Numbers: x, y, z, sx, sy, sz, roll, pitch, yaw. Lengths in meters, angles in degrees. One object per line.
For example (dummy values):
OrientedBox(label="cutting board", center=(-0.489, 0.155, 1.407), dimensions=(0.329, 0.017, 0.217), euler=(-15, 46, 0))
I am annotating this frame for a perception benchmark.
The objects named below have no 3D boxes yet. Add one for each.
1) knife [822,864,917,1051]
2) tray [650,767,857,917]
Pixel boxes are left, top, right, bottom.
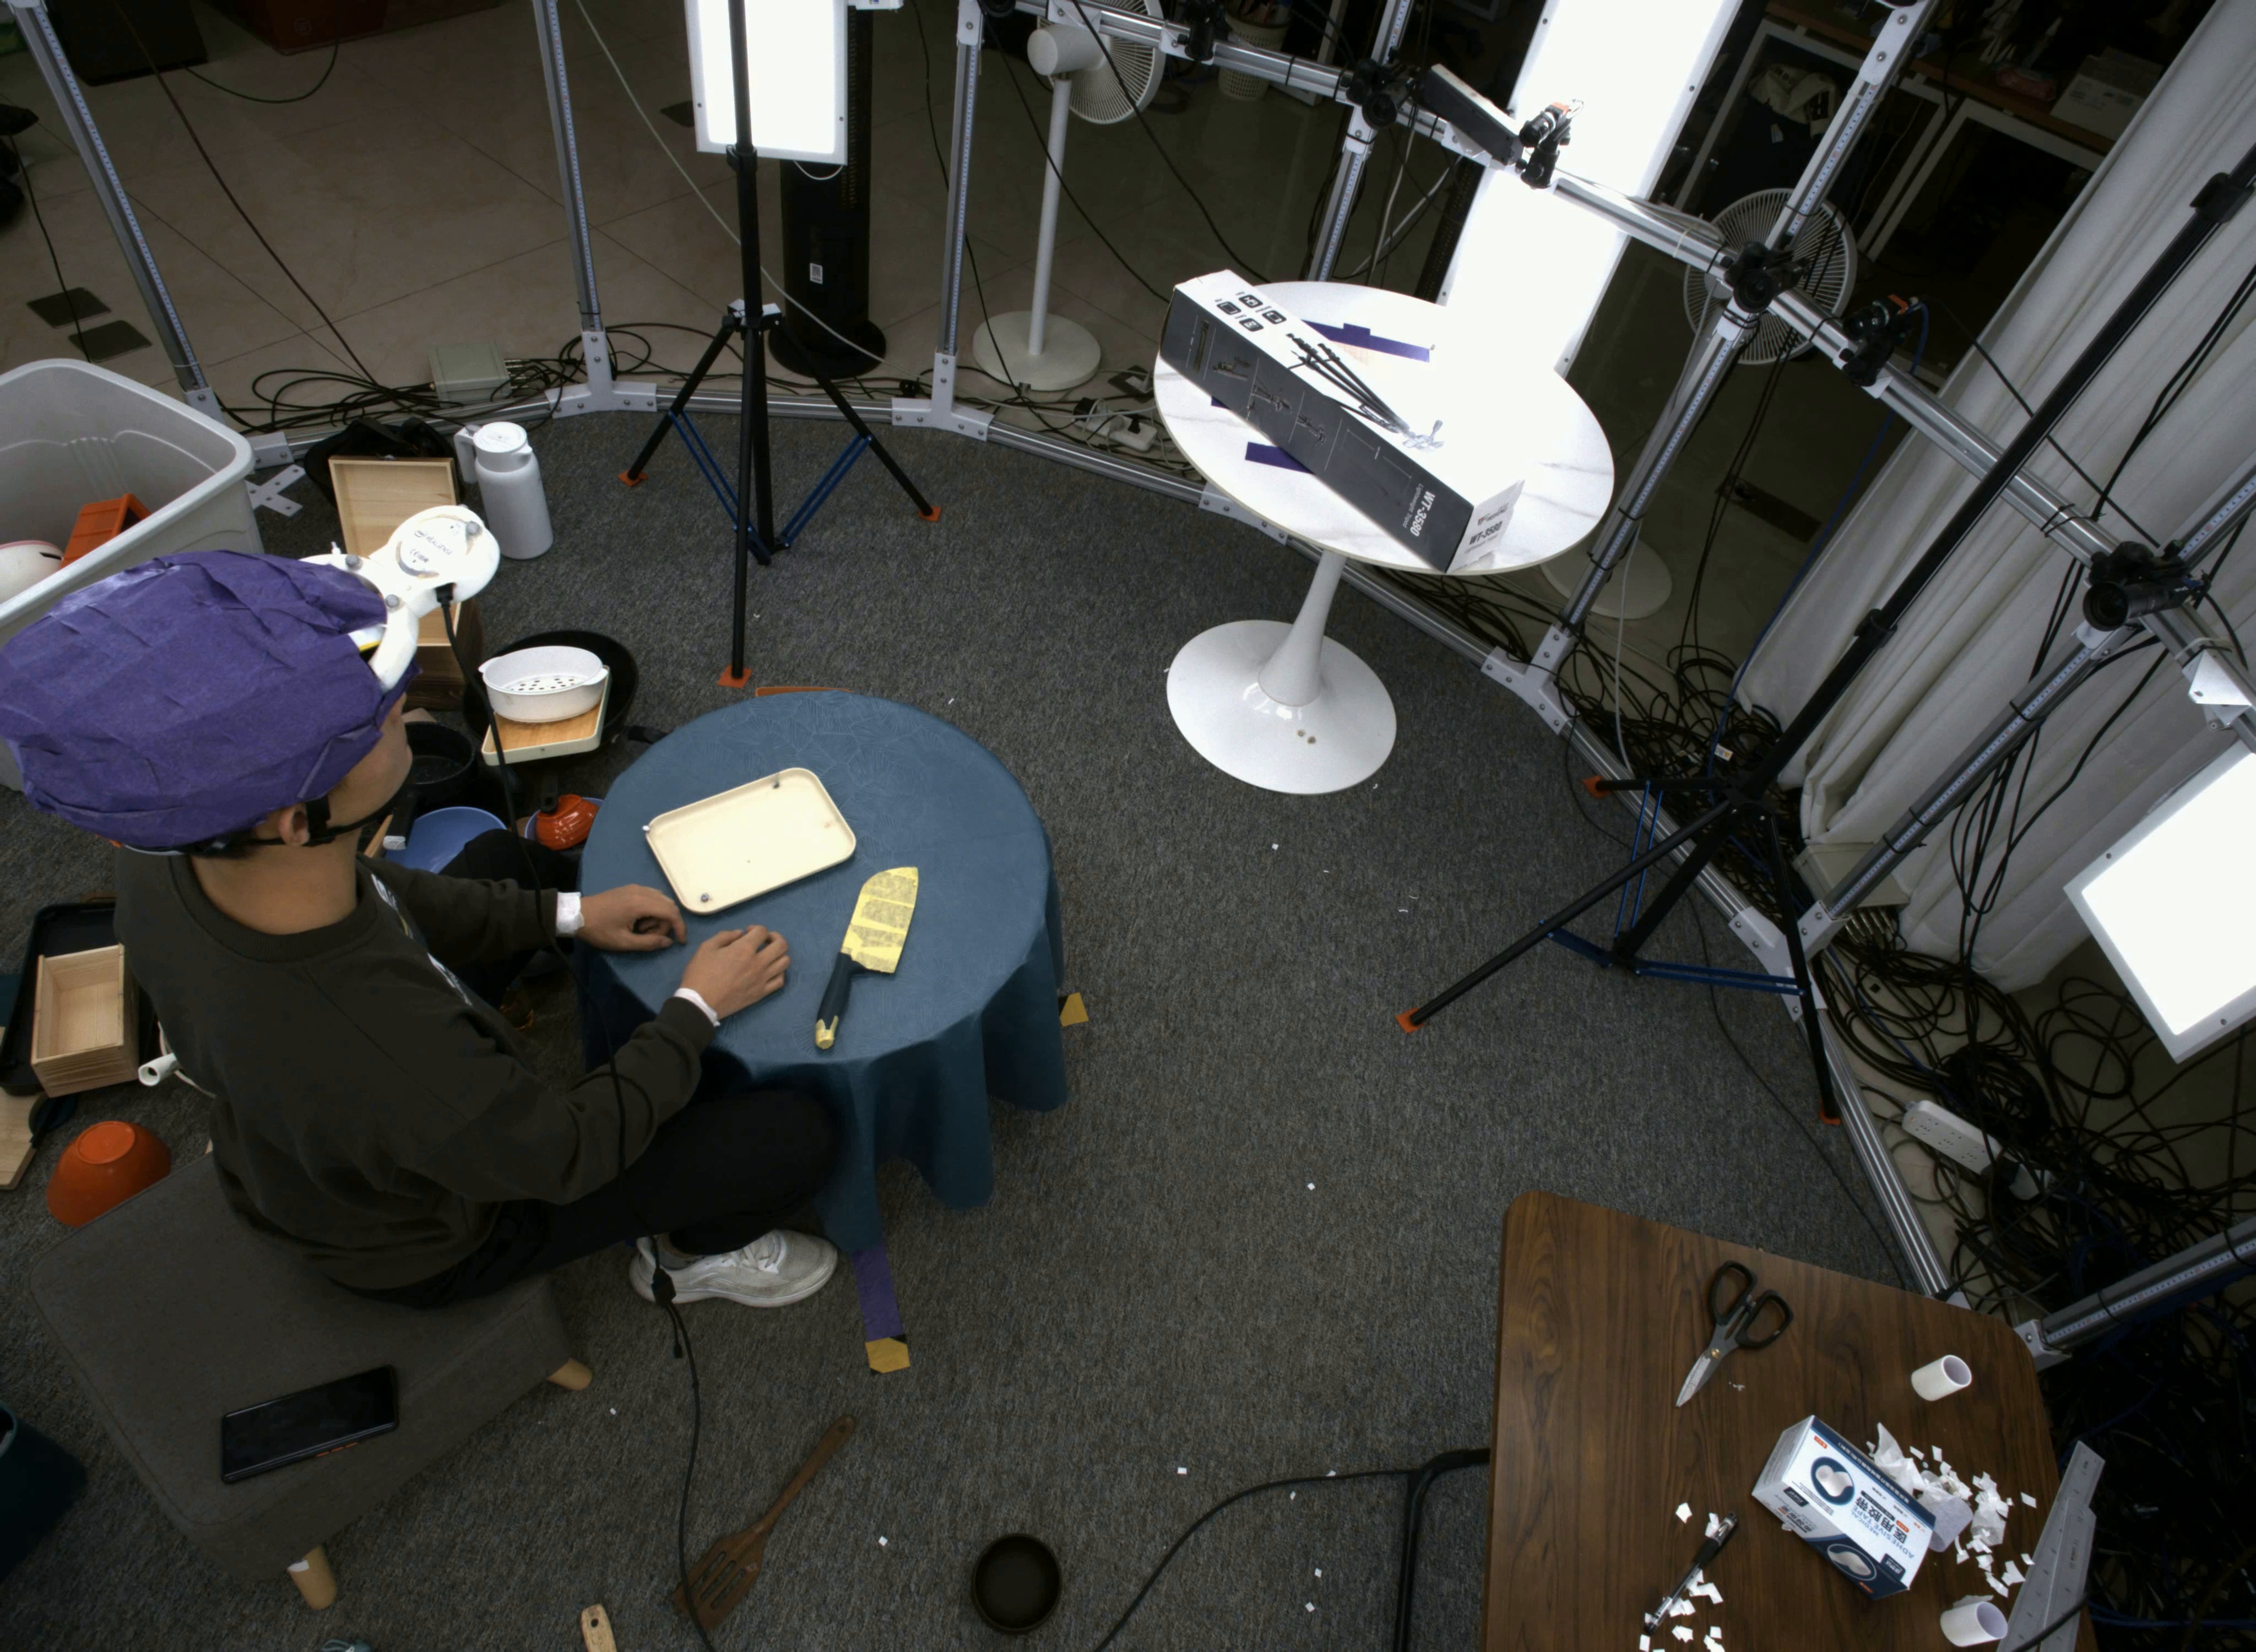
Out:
OrientedBox(label="knife", center=(-0.323, 0.157, 1.635), dimensions=(0.080, 0.028, 0.285), euler=(14, 51, -1))
OrientedBox(label="tray", center=(-0.489, 0.018, 1.694), dimensions=(0.241, 0.018, 0.167), euler=(-24, 64, -28))
